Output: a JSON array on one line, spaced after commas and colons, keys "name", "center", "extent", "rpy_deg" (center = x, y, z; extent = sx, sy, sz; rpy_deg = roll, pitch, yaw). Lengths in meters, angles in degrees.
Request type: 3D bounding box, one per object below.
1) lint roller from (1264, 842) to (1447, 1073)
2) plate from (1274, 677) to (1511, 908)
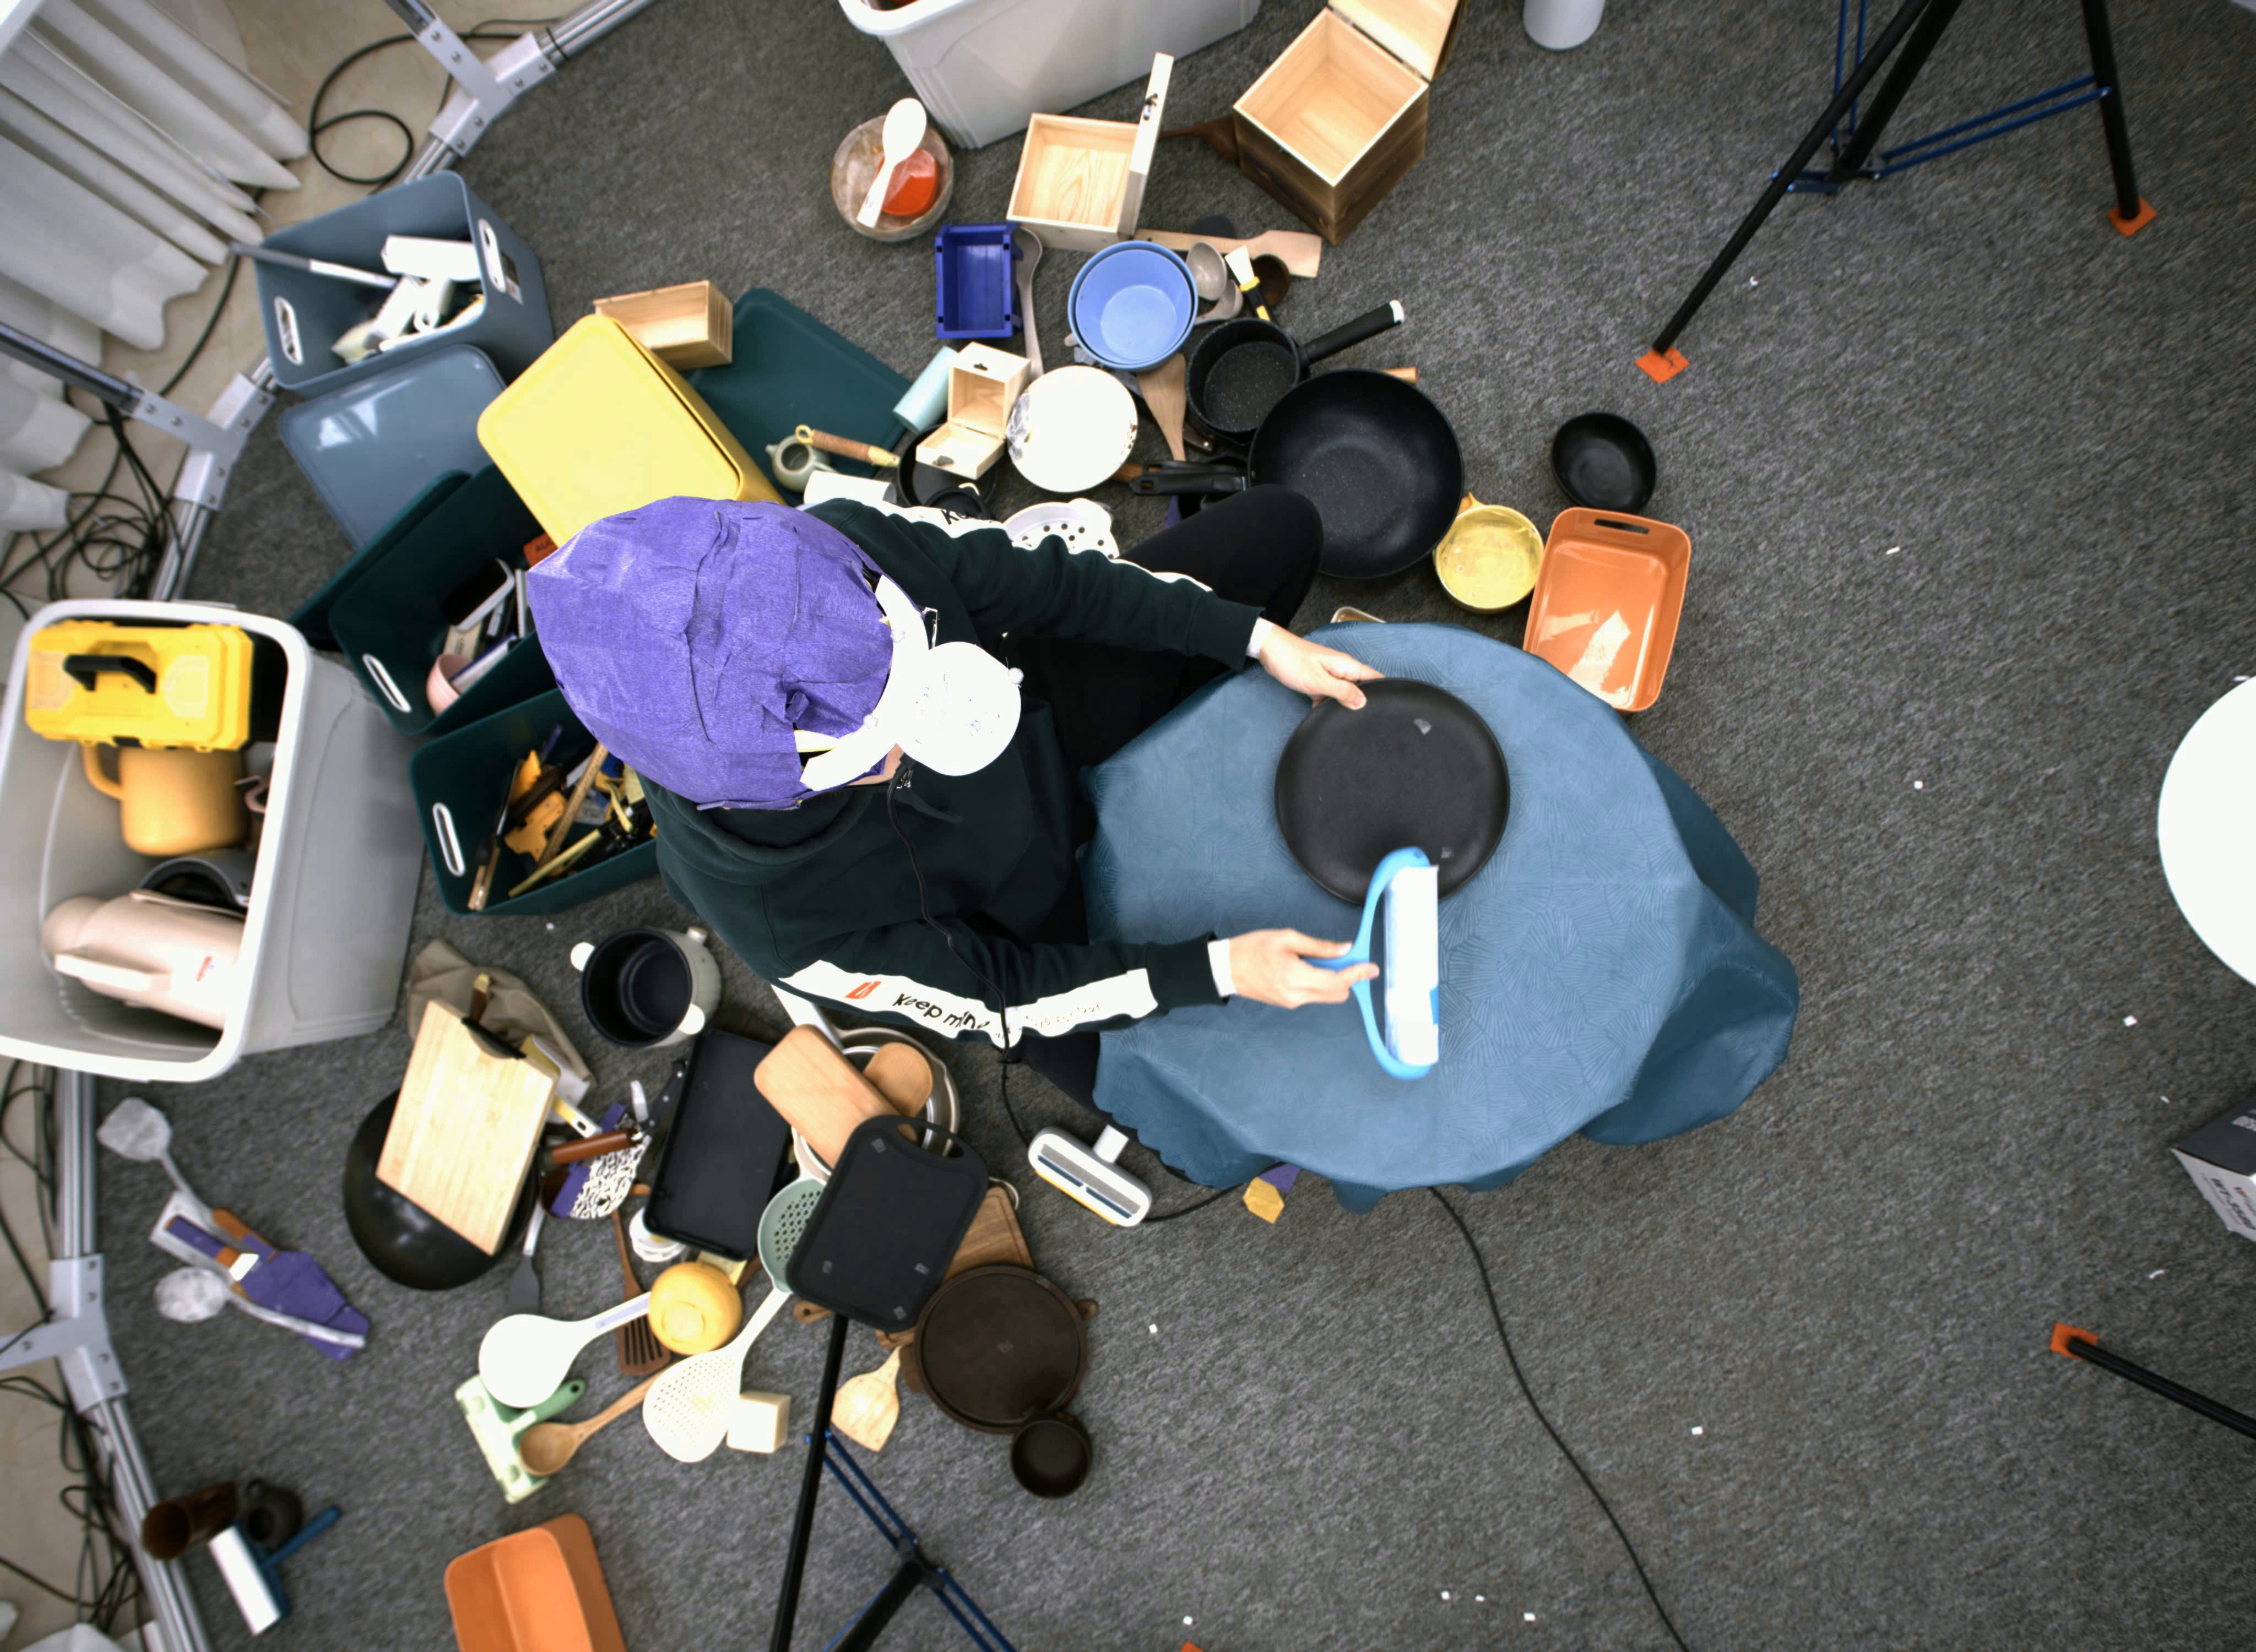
[{"name": "lint roller", "center": [0.225, 0.135, 1.373], "extent": [0.181, 0.067, 0.230], "rpy_deg": [-5, 95, 6]}, {"name": "plate", "center": [0.275, -0.035, 1.436], "extent": [0.245, 0.023, 0.245], "rpy_deg": [1, 95, 10]}]
